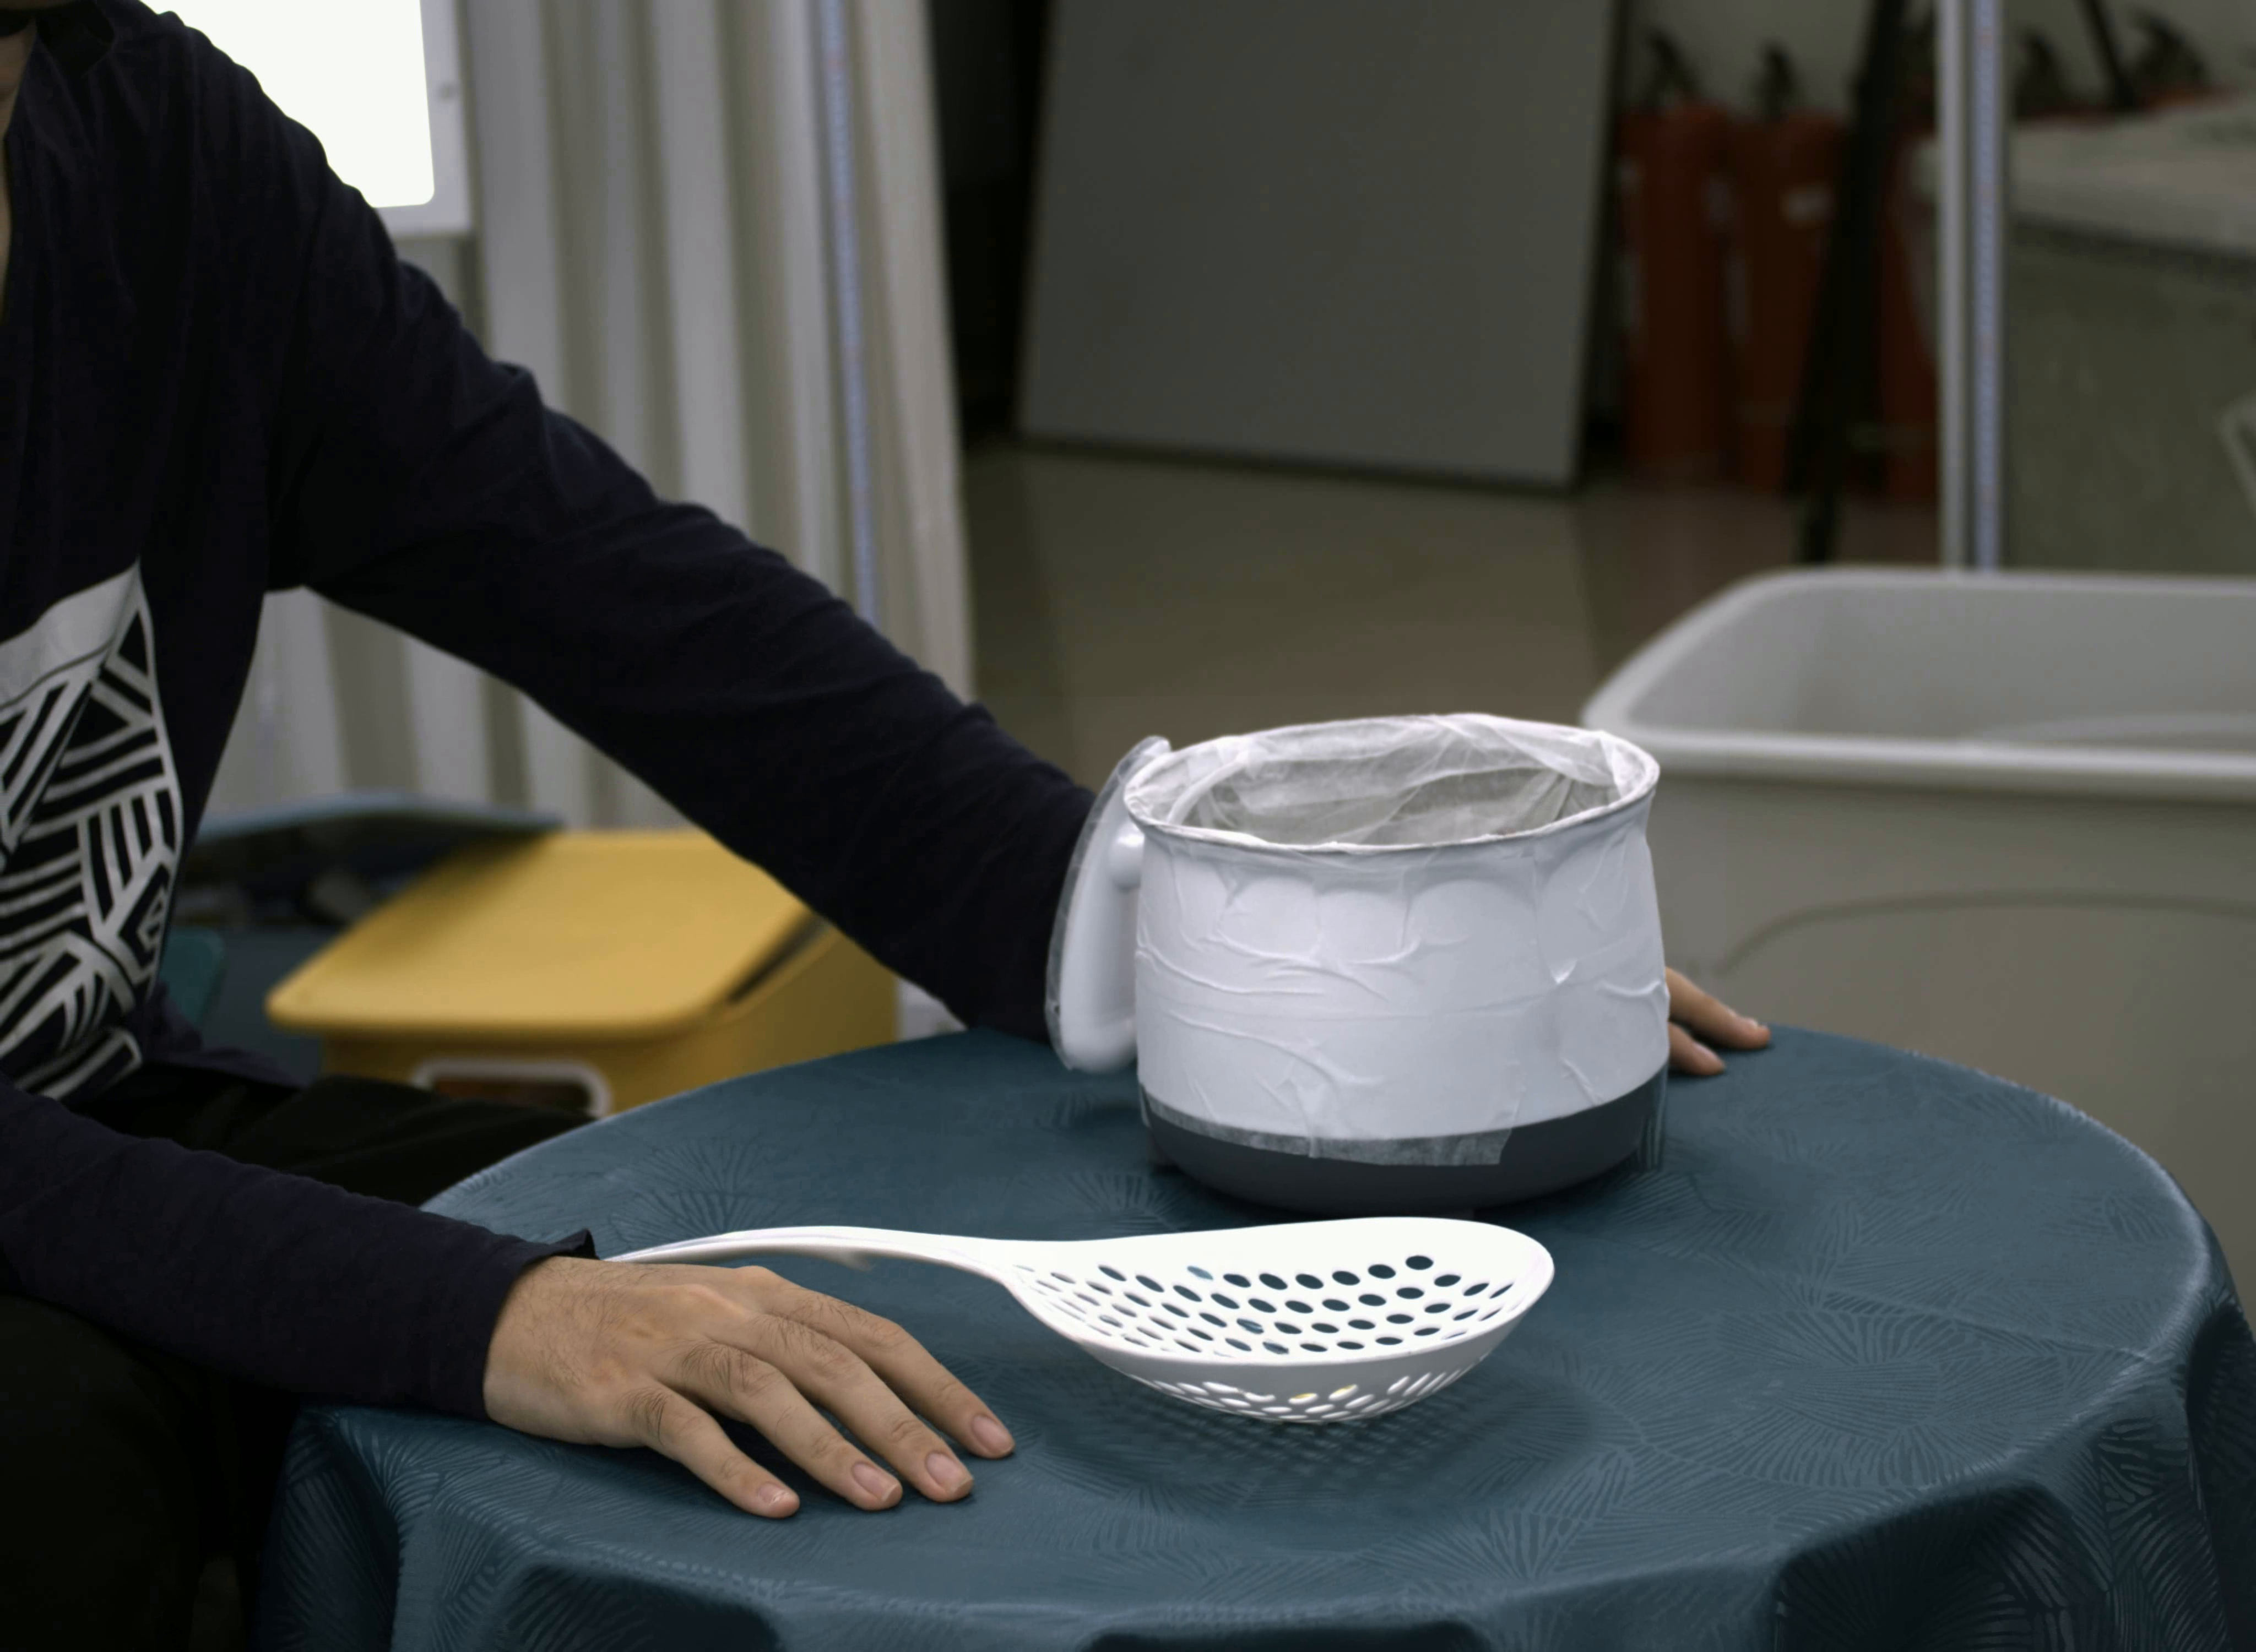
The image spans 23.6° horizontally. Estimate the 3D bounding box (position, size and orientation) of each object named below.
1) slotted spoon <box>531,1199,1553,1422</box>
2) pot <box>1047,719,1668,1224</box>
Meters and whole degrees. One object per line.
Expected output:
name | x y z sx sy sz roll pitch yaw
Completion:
slotted spoon | -0.036 0.140 1.614 0.349 0.051 0.134 5 17 32
pot | 0.068 0.043 1.786 0.235 0.138 0.175 7 14 37
